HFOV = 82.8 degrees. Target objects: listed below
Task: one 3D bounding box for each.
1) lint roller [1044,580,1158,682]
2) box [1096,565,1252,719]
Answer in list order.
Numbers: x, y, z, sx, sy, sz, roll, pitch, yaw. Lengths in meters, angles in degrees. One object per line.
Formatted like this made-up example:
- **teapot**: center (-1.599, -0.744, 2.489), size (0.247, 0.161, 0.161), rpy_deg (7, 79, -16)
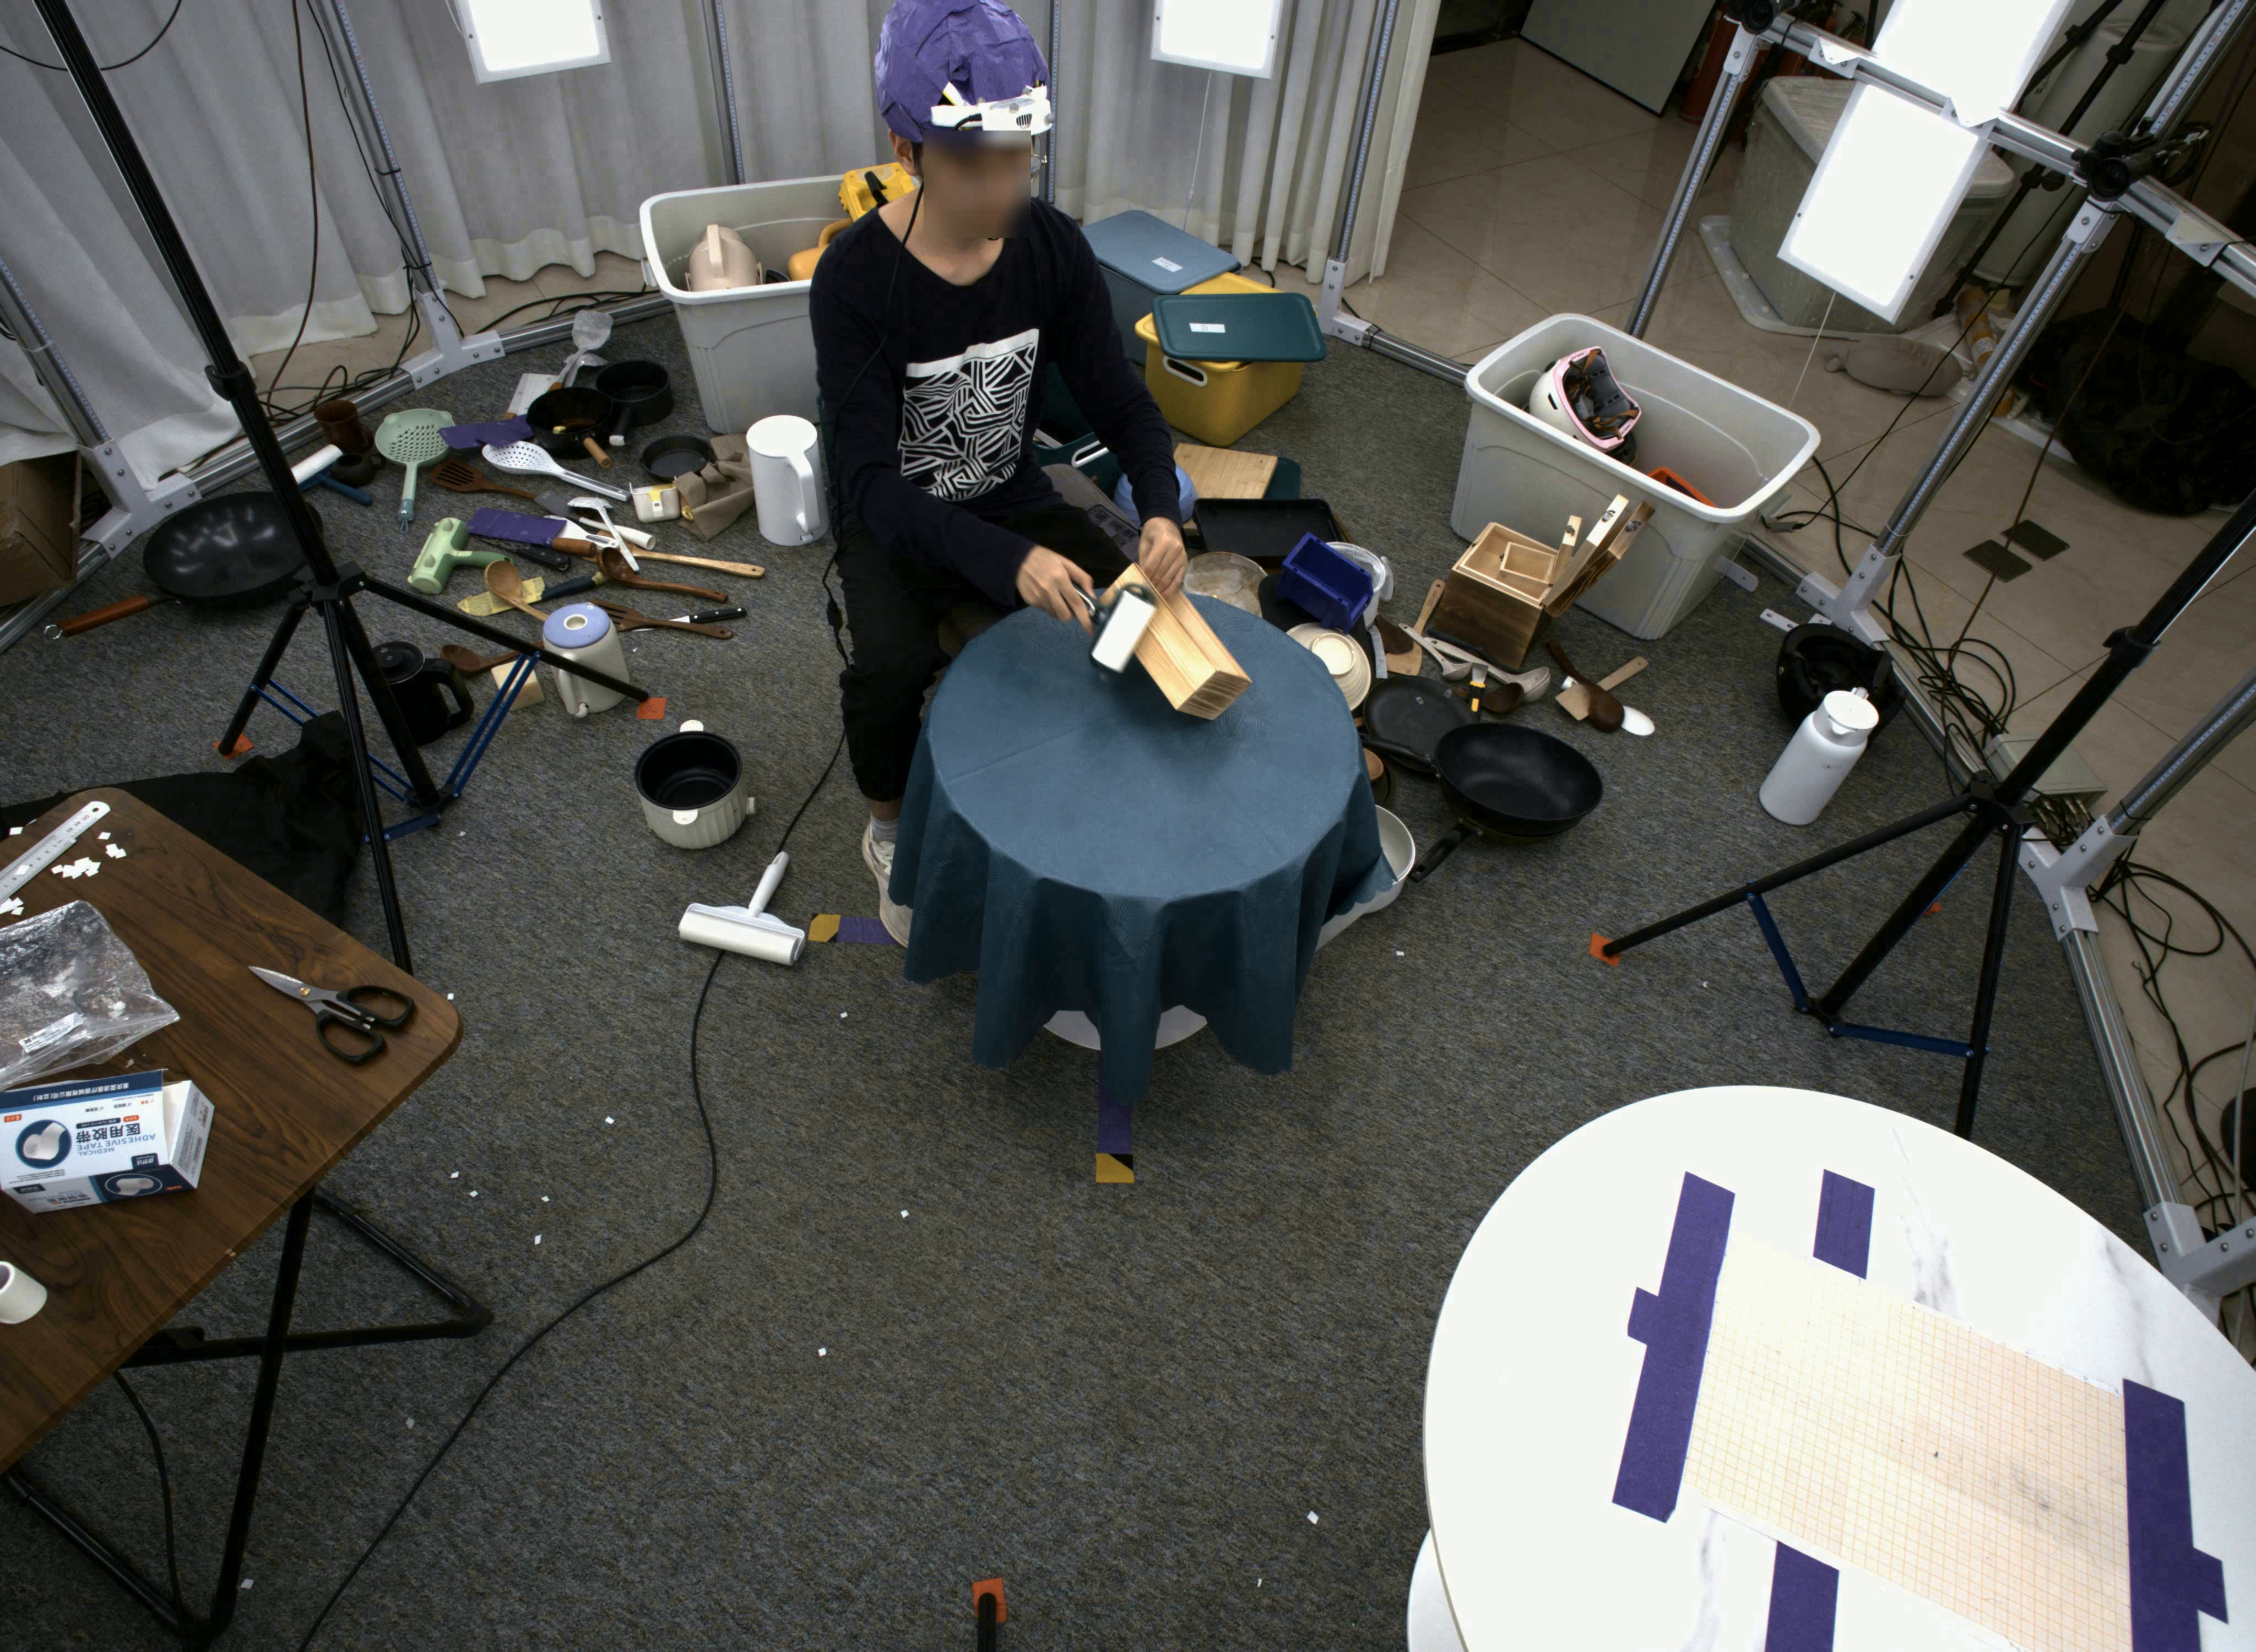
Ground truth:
- **lint roller**: center (-0.054, -0.293, 1.767), size (0.182, 0.133, 0.048), rpy_deg (34, 13, 20)
- **box**: center (0.063, -0.256, 1.792), size (0.107, 0.079, 0.215), rpy_deg (8, 41, -56)
